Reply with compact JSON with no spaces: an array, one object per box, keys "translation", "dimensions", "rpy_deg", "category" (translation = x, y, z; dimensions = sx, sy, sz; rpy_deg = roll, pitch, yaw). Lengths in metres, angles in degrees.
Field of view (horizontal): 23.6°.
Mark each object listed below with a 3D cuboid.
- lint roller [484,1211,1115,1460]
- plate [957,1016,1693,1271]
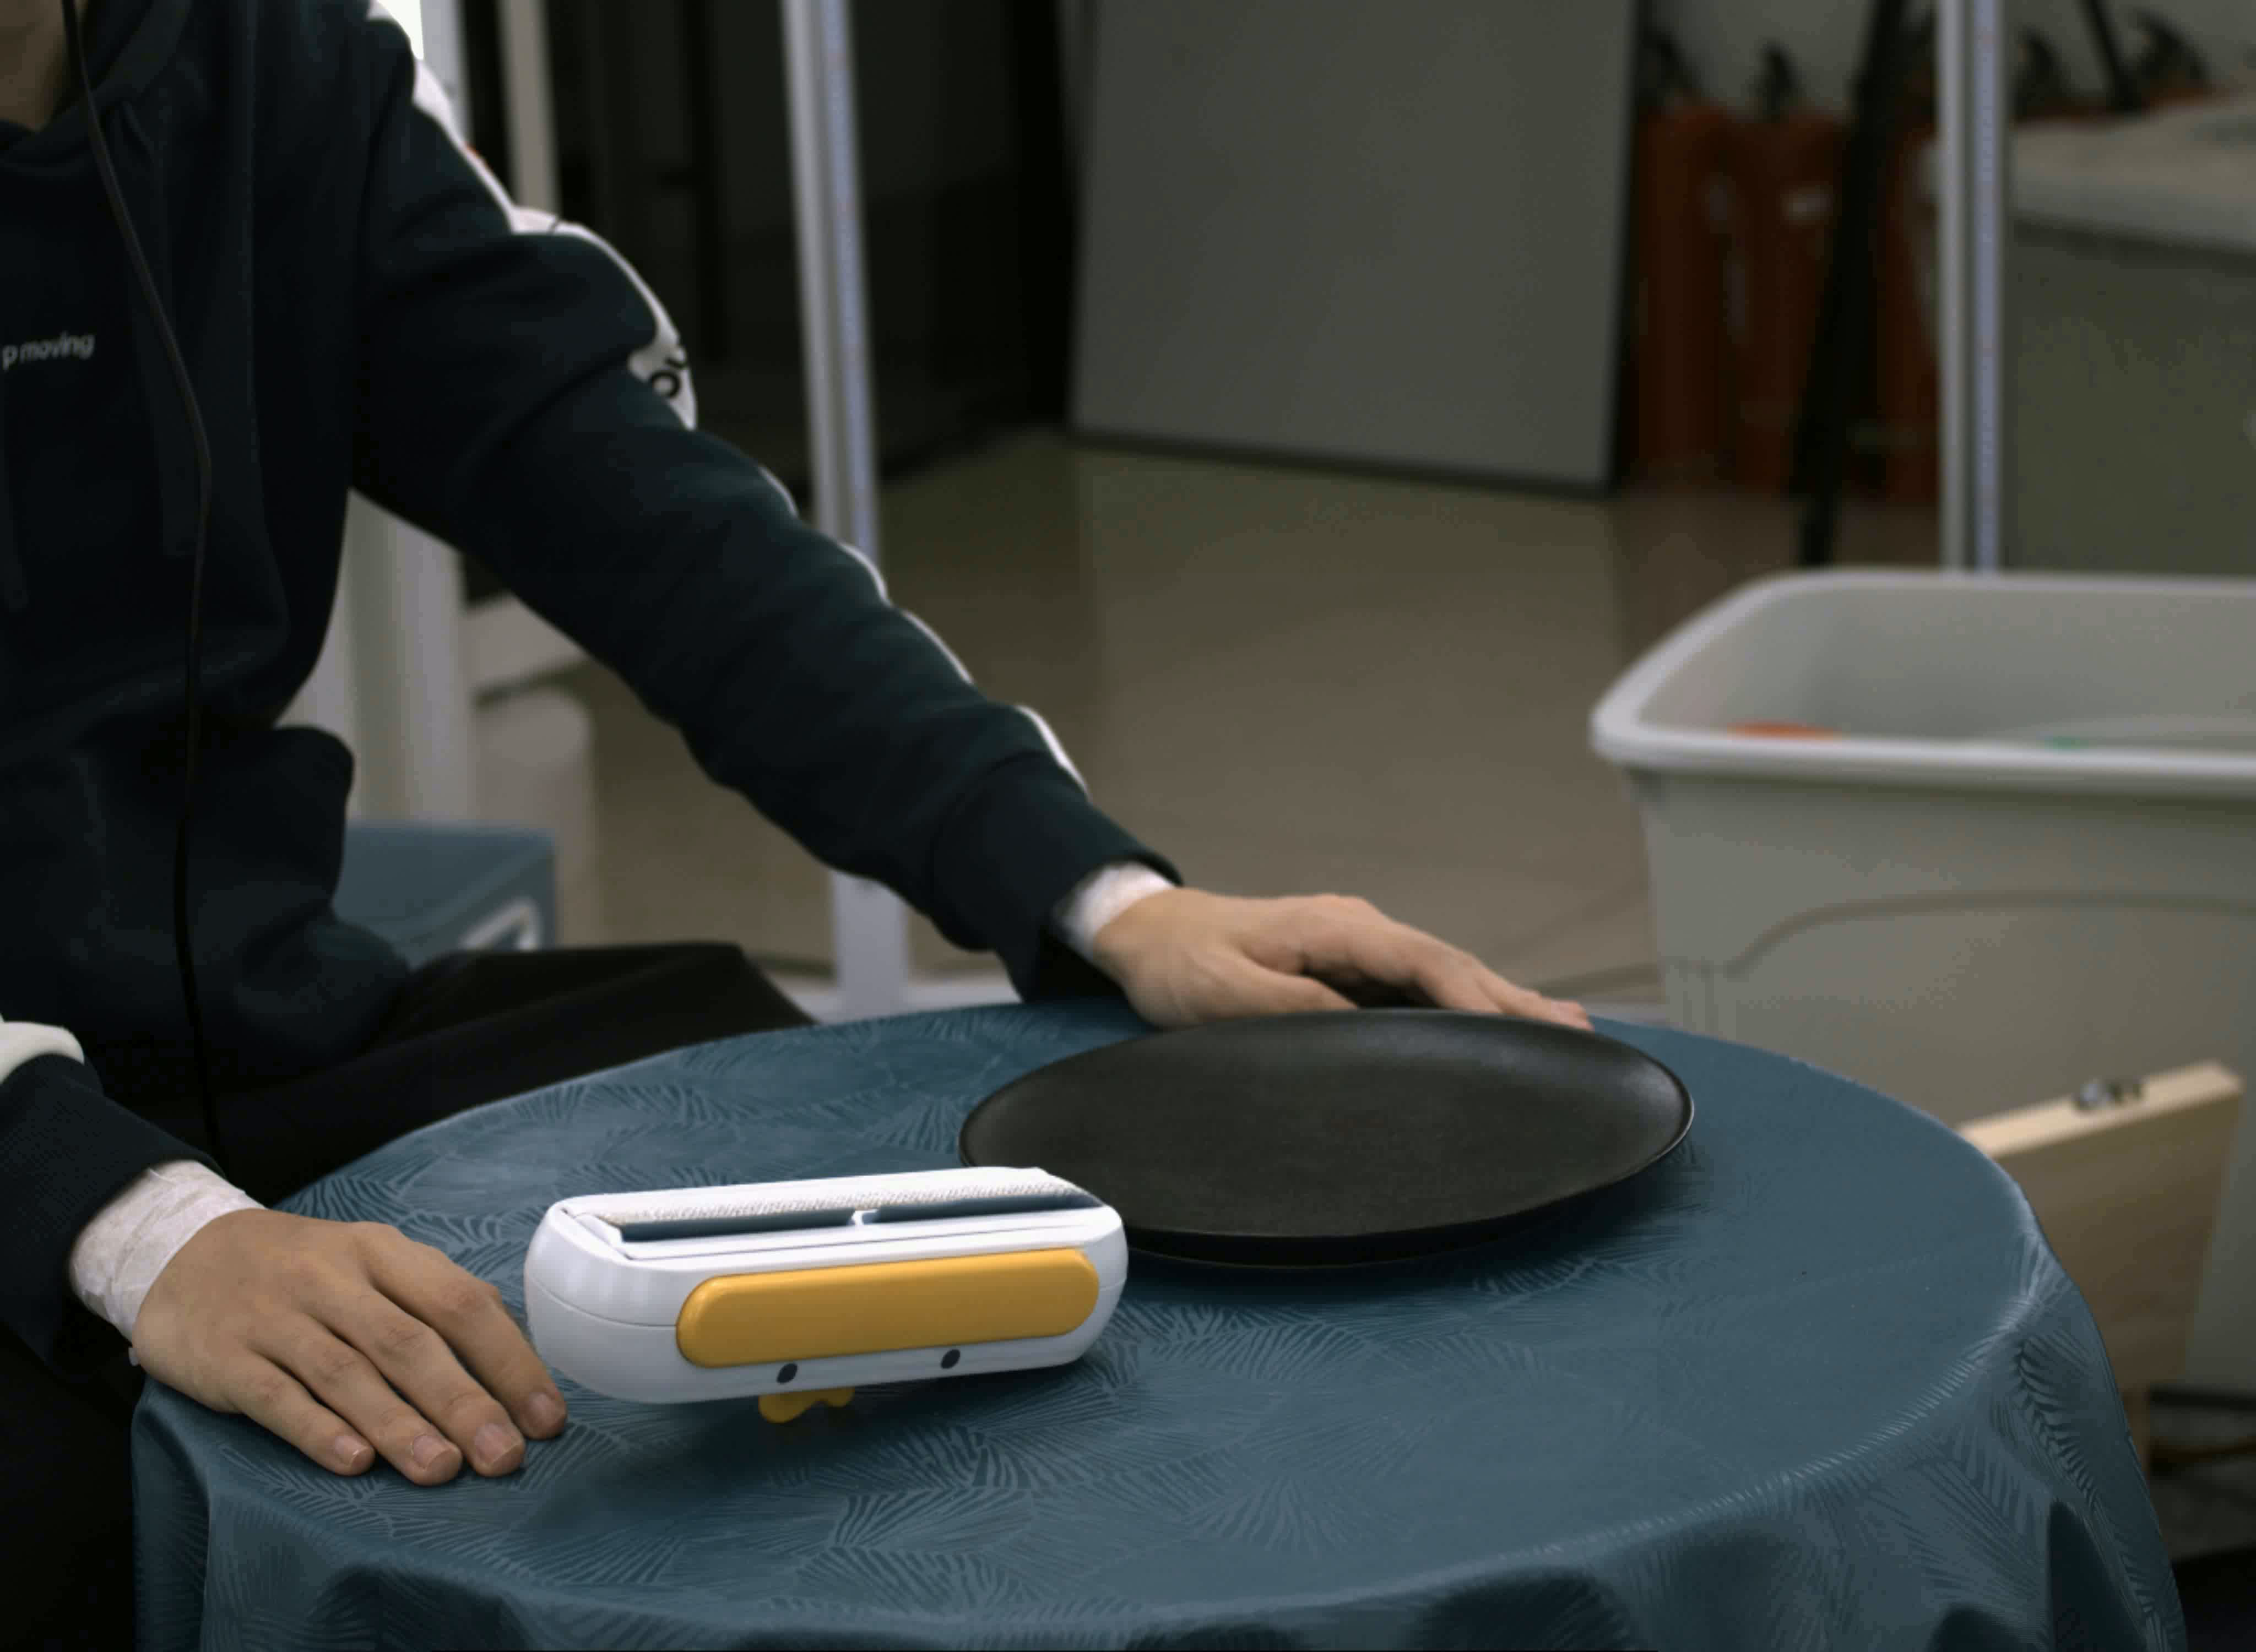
[{"translation":[-0.120,0.151,1.624],"dimensions":[0.188,0.075,0.194],"rpy_deg":[-4,-3,-29],"category":"lint roller"},{"translation":[0.065,0.106,1.766],"dimensions":[0.241,0.024,0.245],"rpy_deg":[-4,14,0],"category":"plate"}]
